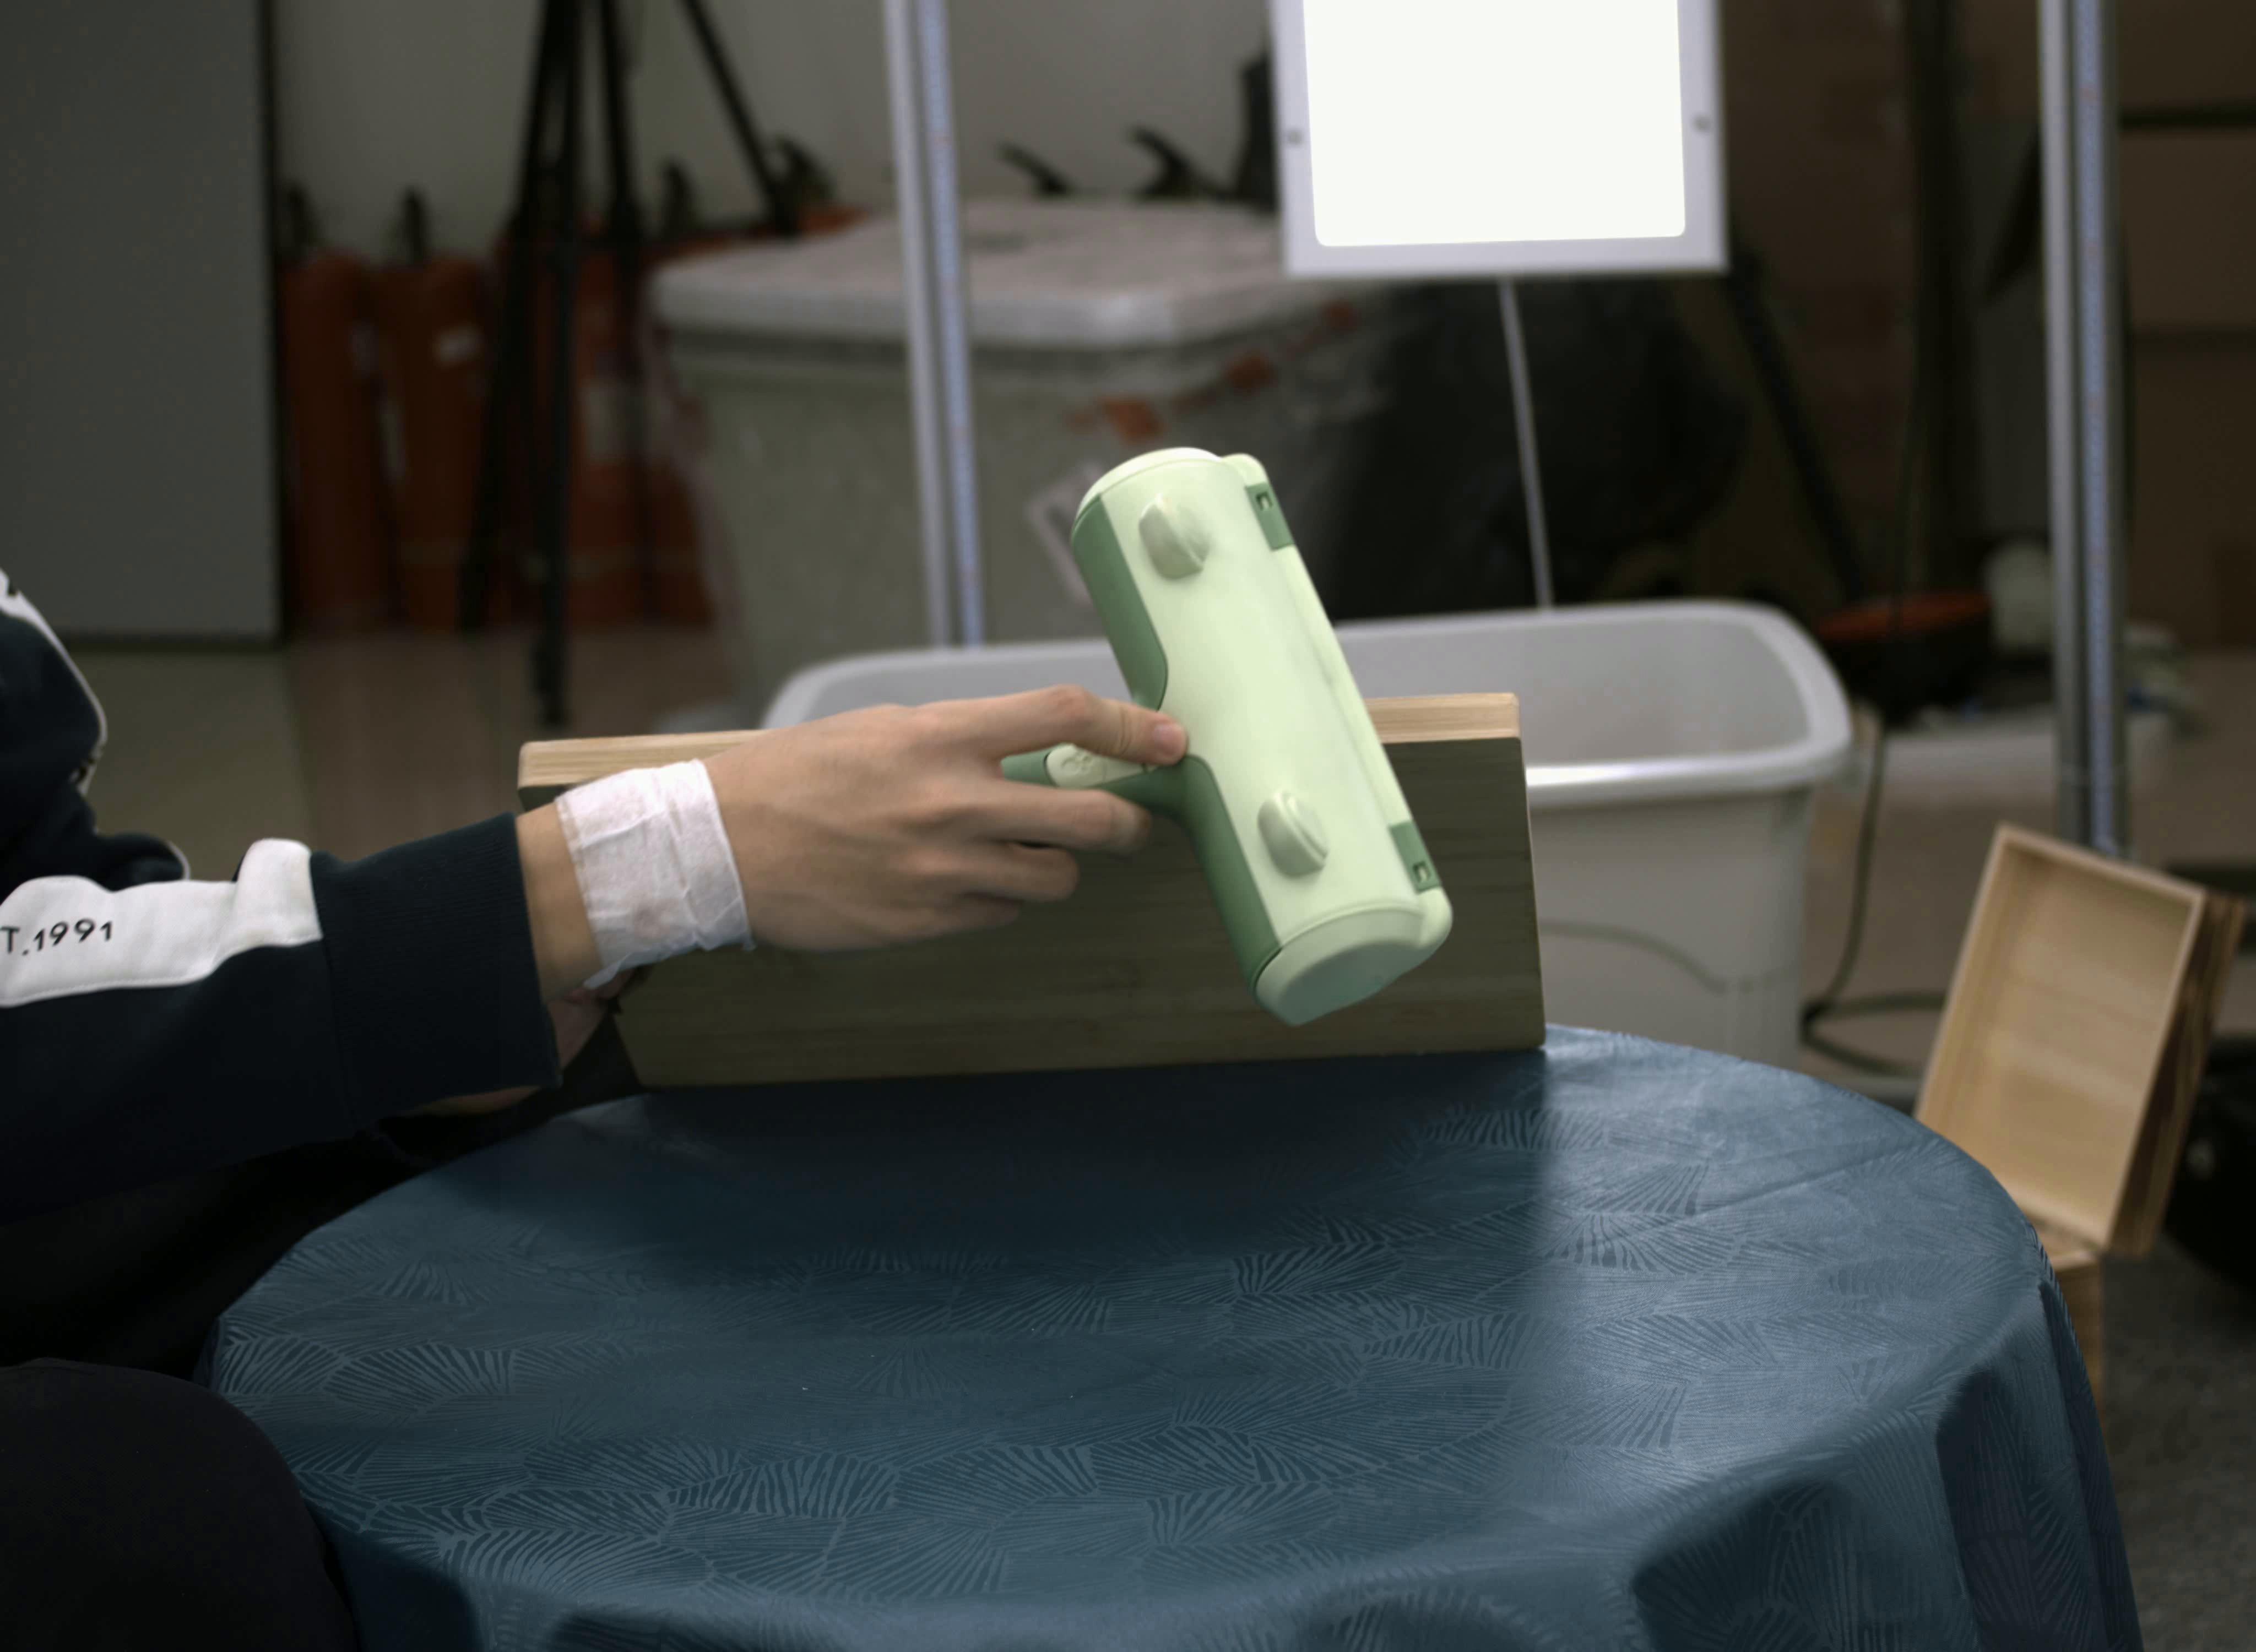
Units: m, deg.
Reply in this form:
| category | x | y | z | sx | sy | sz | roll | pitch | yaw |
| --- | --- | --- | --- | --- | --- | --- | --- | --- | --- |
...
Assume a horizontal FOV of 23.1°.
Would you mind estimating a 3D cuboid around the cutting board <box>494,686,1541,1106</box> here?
| category | x | y | z | sx | sy | sz | roll | pitch | yaw |
| --- | --- | --- | --- | --- | --- | --- | --- | --- | --- |
| cutting board | -0.031 | 0.029 | 1.944 | 0.349 | 0.023 | 0.250 | -2 | -29 | 7 |

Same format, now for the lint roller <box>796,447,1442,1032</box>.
| category | x | y | z | sx | sy | sz | roll | pitch | yaw |
| --- | --- | --- | --- | --- | --- | --- | --- | --- | --- |
| lint roller | -0.016 | -0.021 | 1.737 | 0.181 | 0.199 | 0.082 | -15 | -29 | -11 |
